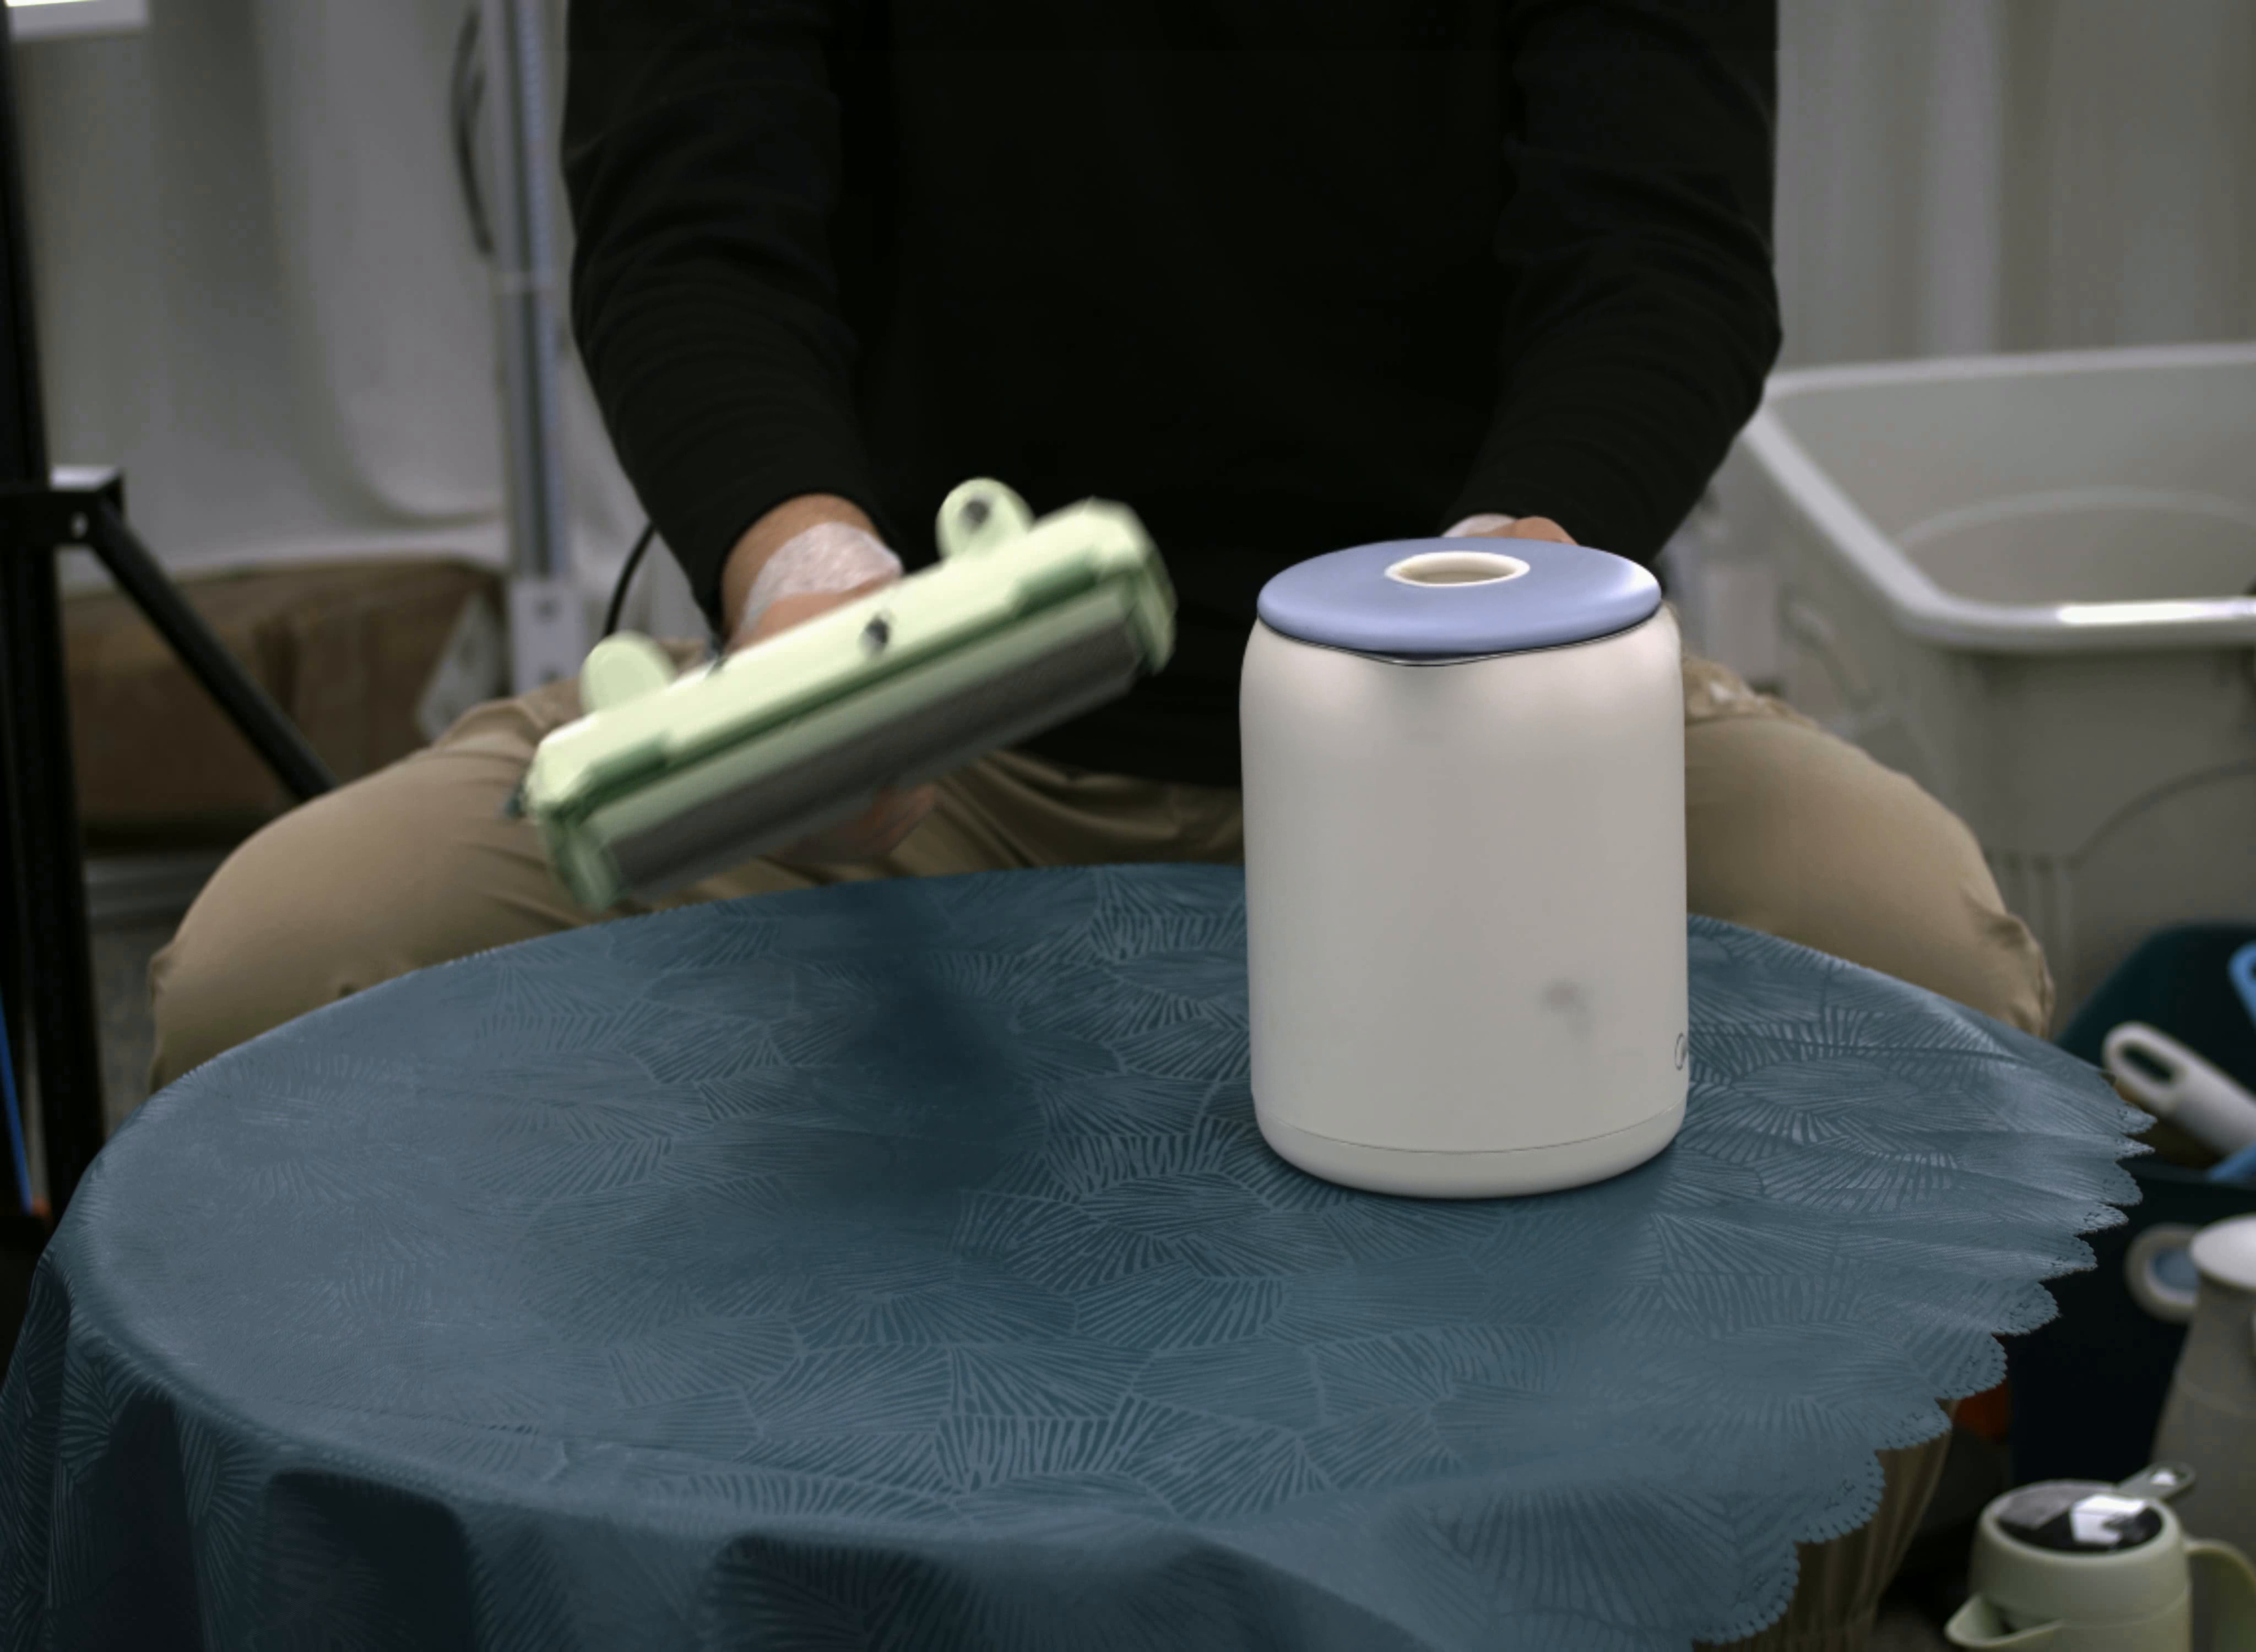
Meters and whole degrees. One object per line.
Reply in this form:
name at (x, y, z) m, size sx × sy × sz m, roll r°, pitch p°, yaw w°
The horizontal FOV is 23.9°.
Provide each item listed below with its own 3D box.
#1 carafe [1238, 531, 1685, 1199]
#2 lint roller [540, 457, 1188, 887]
carafe at (0.104, 0.005, 1.591) m, size 0.133 × 0.182 × 0.190 m, roll 2°, pitch 14°, yaw 12°
lint roller at (-0.086, -0.047, 1.630) m, size 0.197 × 0.082 × 0.184 m, roll -24°, pitch 0°, yaw -7°
